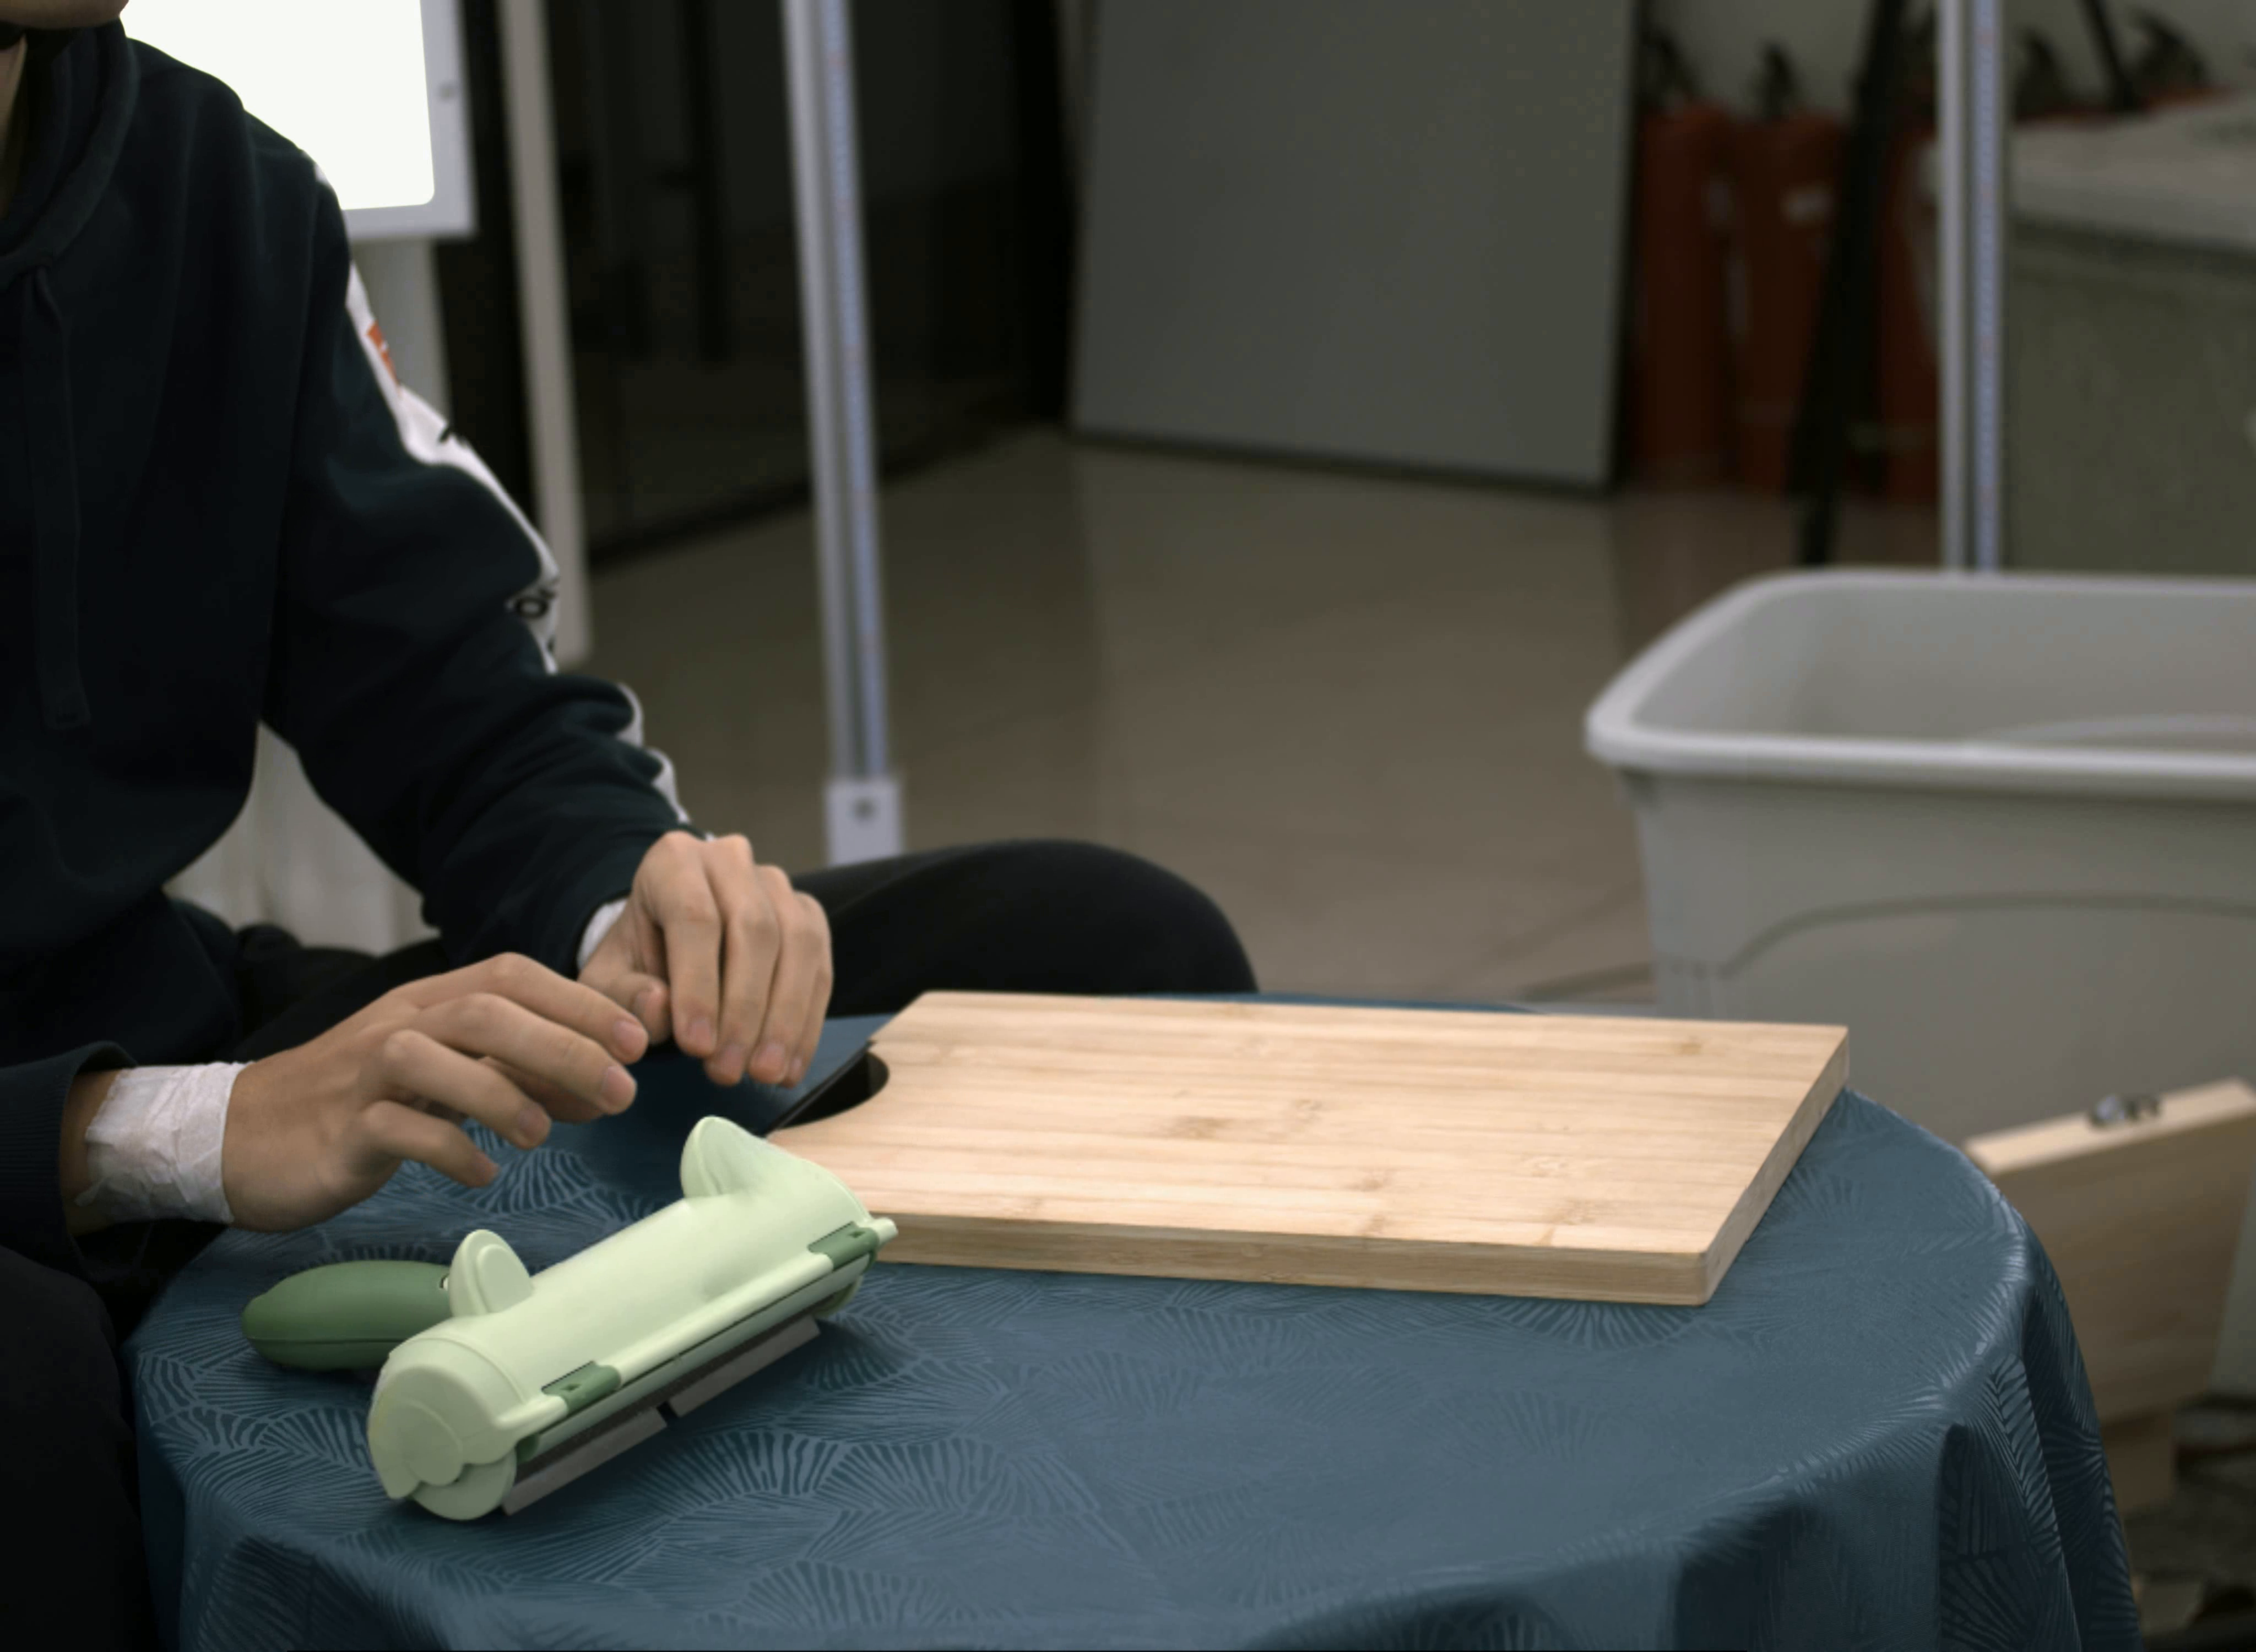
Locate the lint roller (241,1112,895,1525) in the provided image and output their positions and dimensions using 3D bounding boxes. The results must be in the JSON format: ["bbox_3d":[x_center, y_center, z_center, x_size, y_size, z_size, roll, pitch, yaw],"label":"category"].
[{"bbox_3d":[-0.193,0.134,1.615,0.184,0.083,0.195,9,19,31],"label":"lint roller"}]

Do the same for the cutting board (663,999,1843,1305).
[{"bbox_3d":[0.047,0.105,1.791,0.348,0.024,0.248,1,14,19],"label":"cutting board"}]
